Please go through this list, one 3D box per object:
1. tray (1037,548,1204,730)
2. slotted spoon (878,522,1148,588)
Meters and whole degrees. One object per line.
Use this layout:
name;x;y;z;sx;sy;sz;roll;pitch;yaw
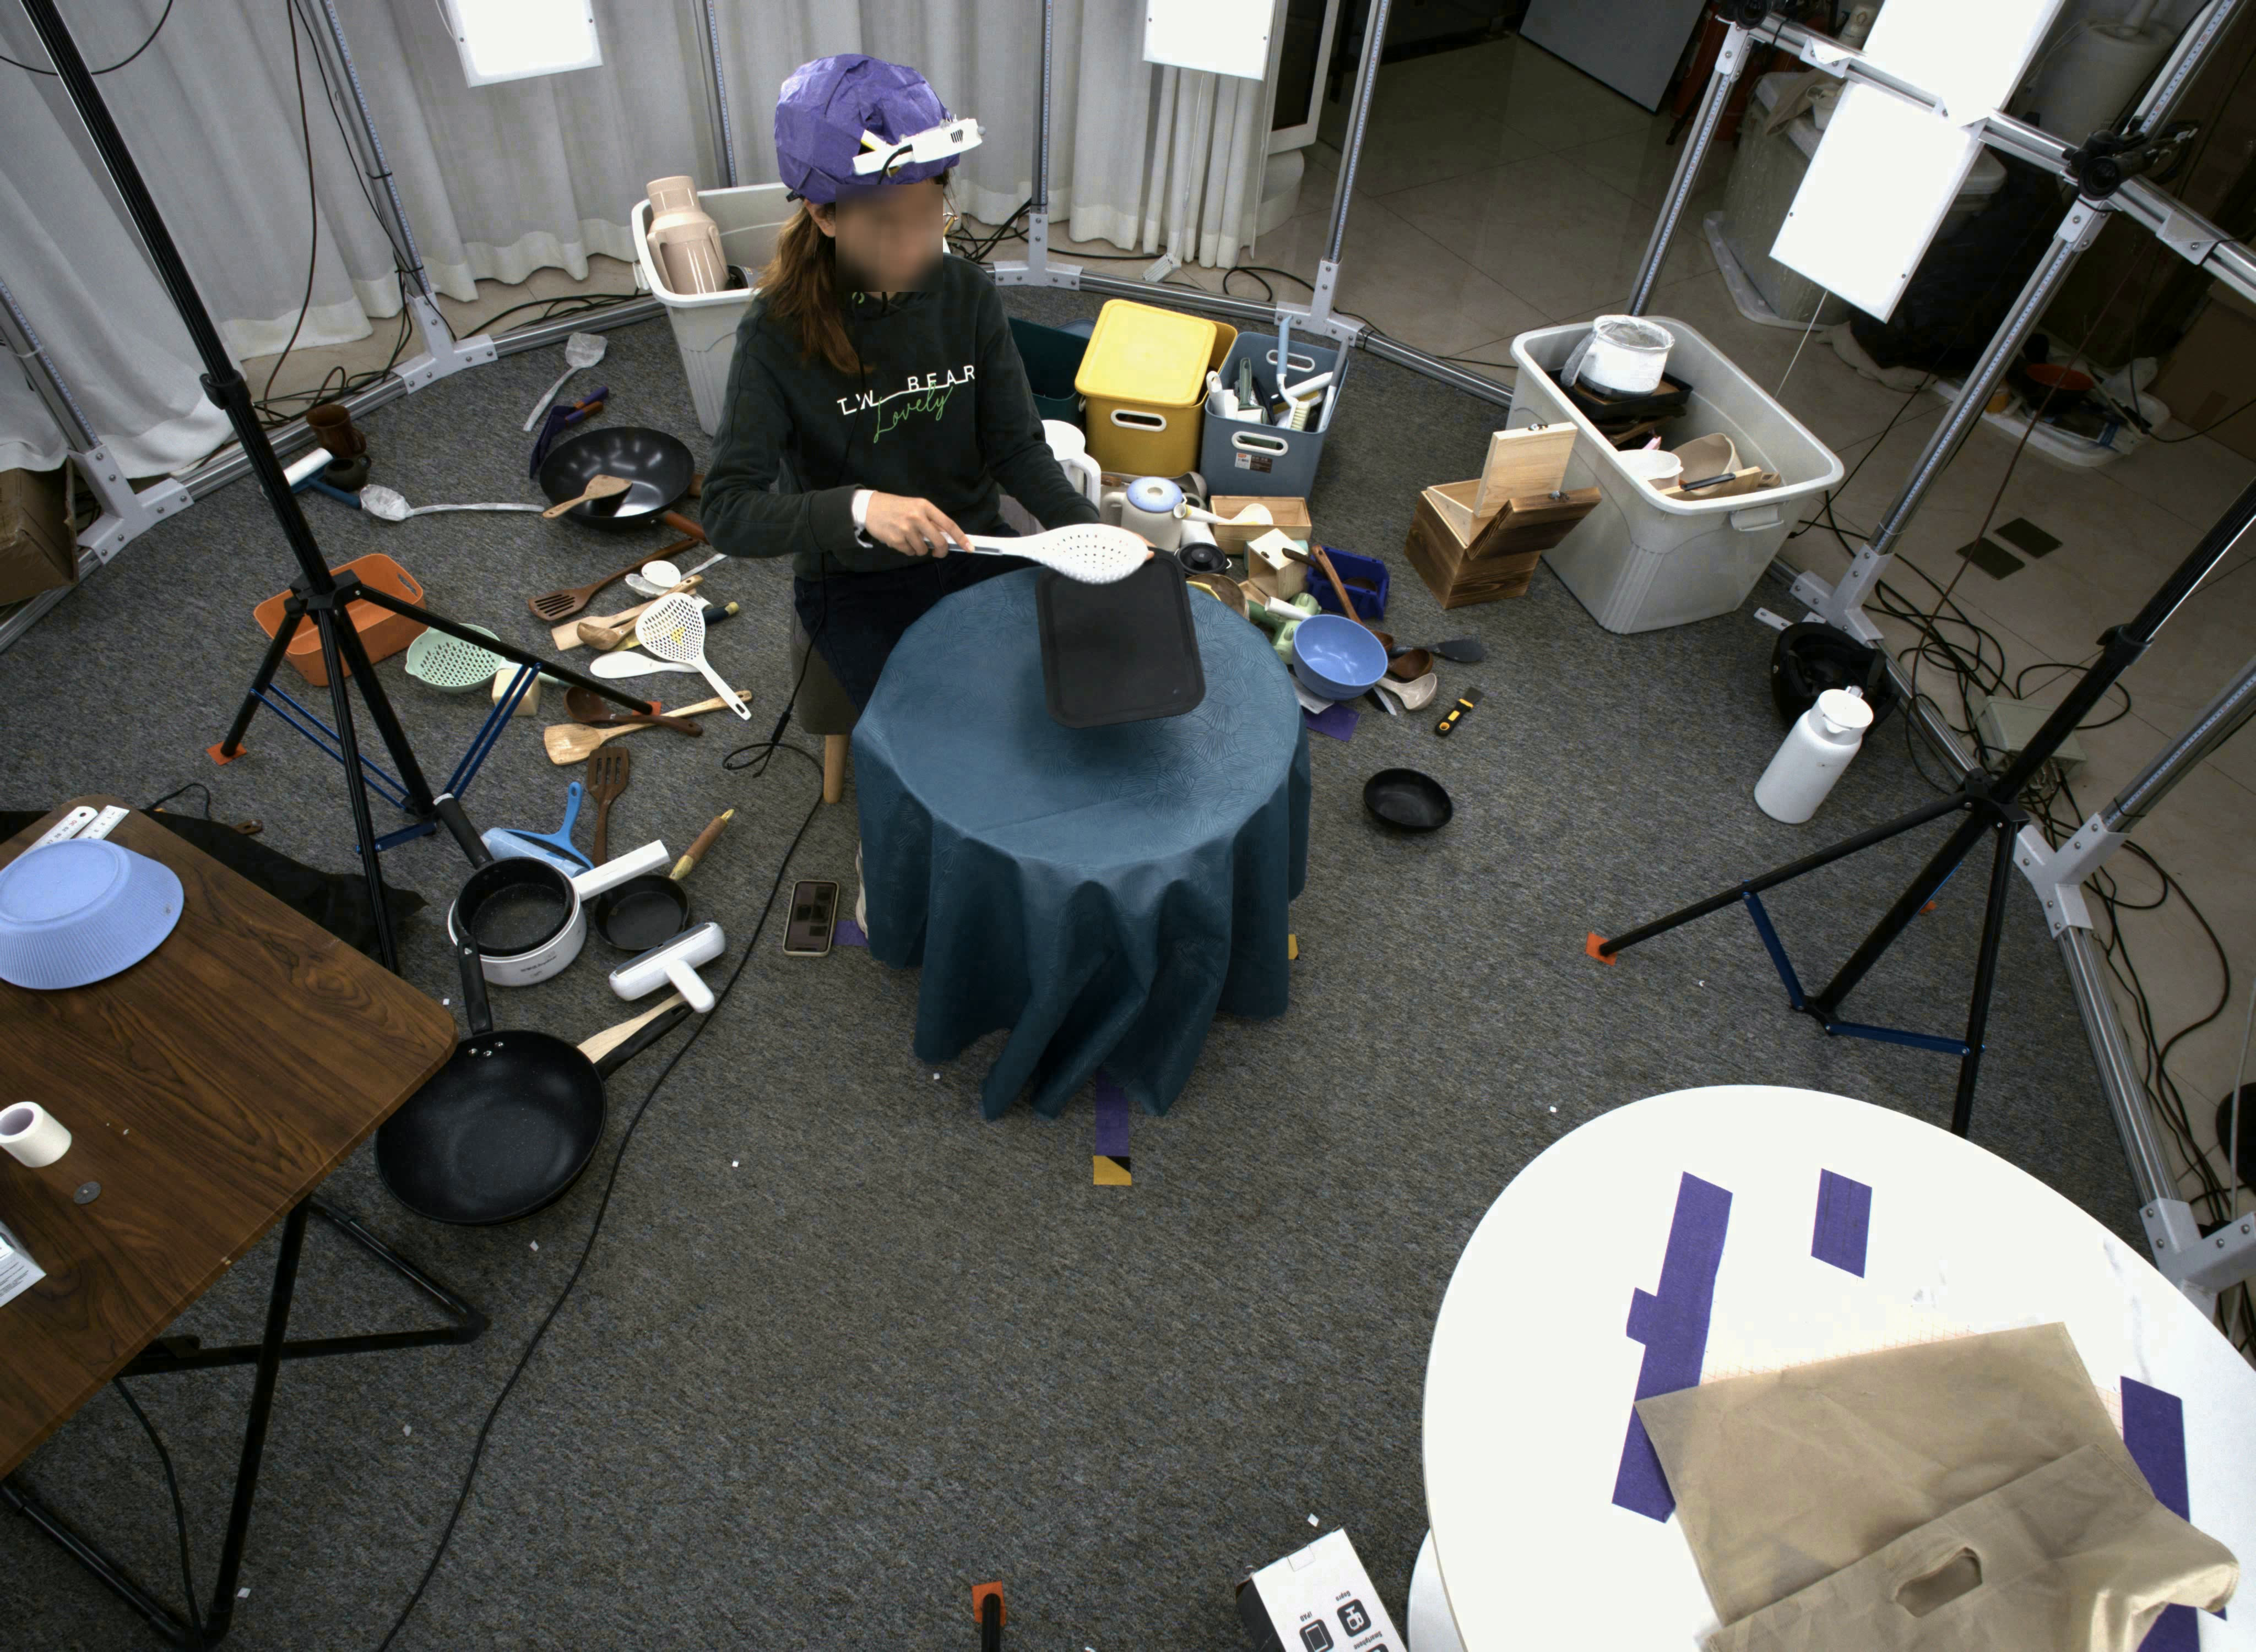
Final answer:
tray;-0.016;-0.267;1.758;0.211;0.009;0.333;-8;54;2
slotted spoon;-0.150;-0.362;1.683;0.350;0.134;0.046;10;69;2
